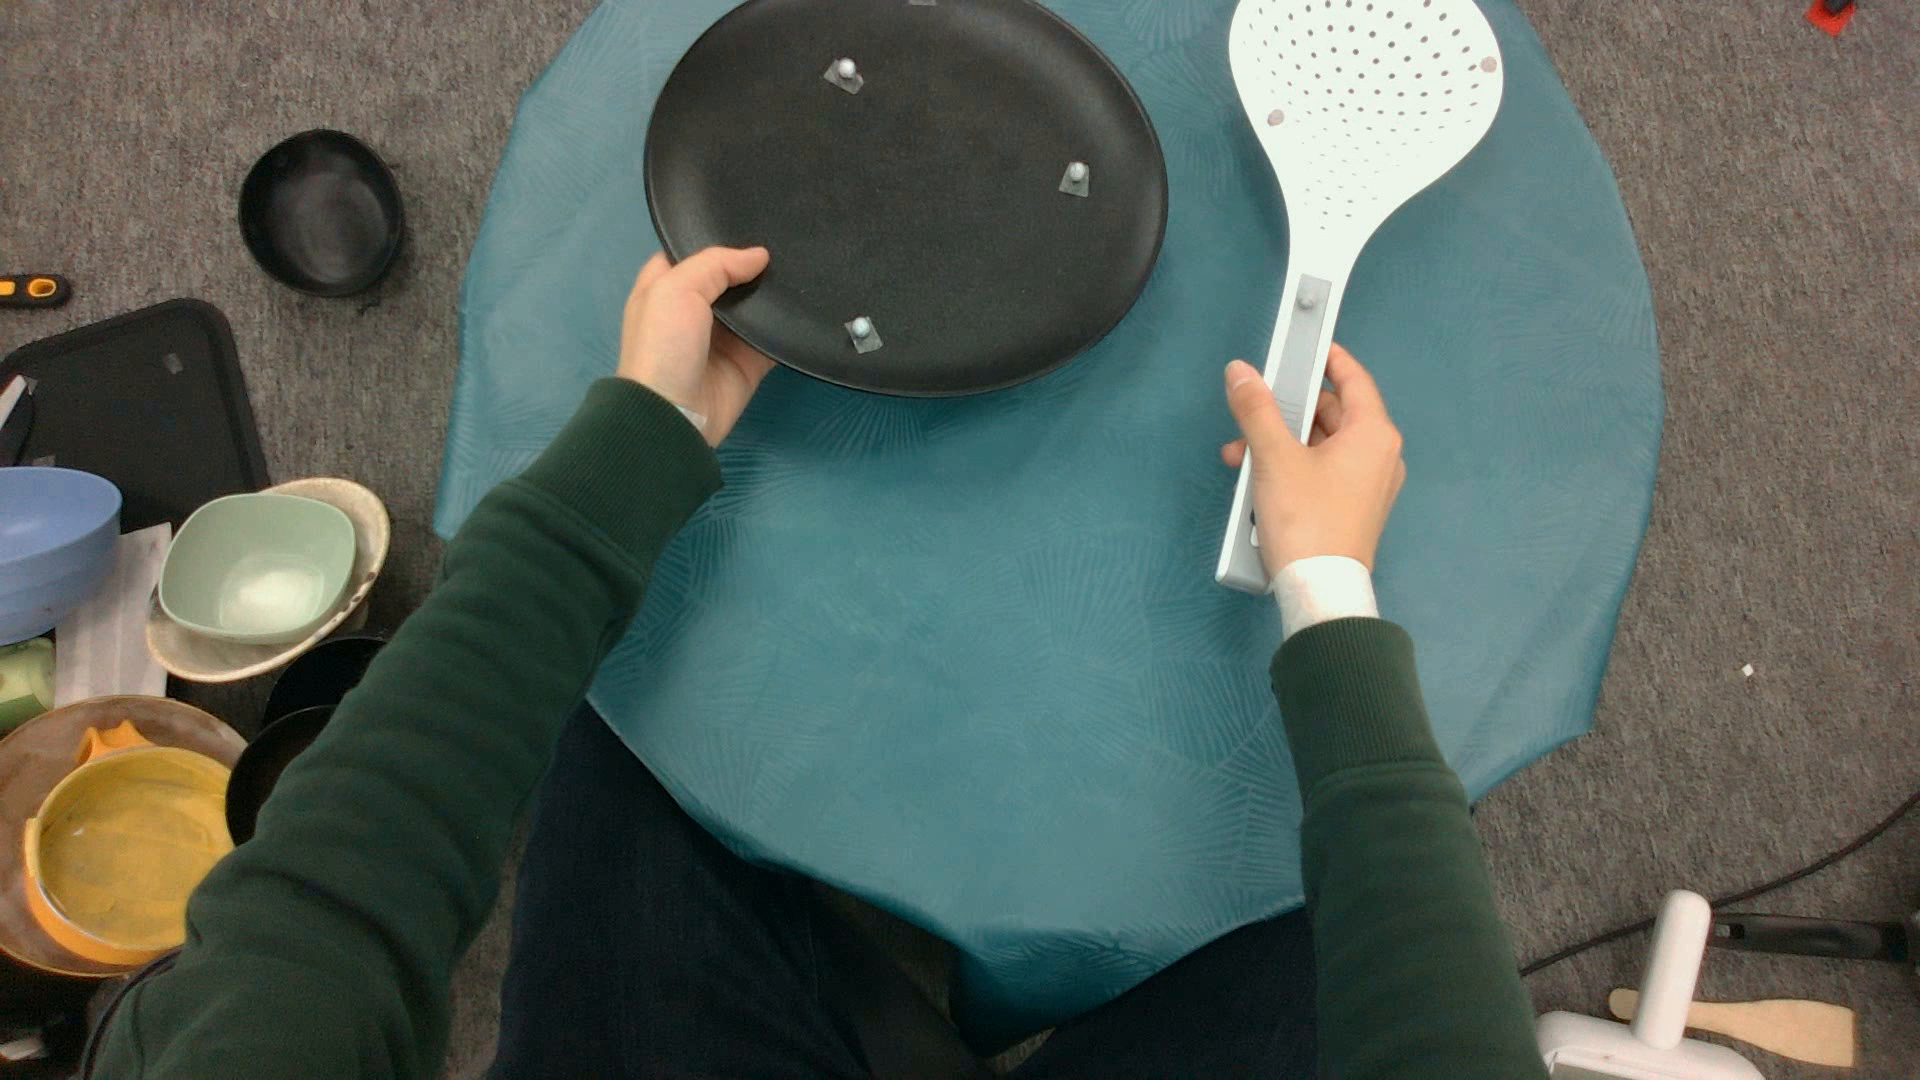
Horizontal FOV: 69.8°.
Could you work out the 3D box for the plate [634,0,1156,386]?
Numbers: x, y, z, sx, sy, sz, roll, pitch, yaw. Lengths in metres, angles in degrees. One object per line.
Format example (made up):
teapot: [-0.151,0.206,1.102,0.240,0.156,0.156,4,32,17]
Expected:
plate: [-0.028,-0.175,0.650,0.244,0.023,0.245,3,67,-7]

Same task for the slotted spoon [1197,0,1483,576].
slotted spoon: [0.165,-0.146,0.659,0.136,0.045,0.351,16,67,2]
